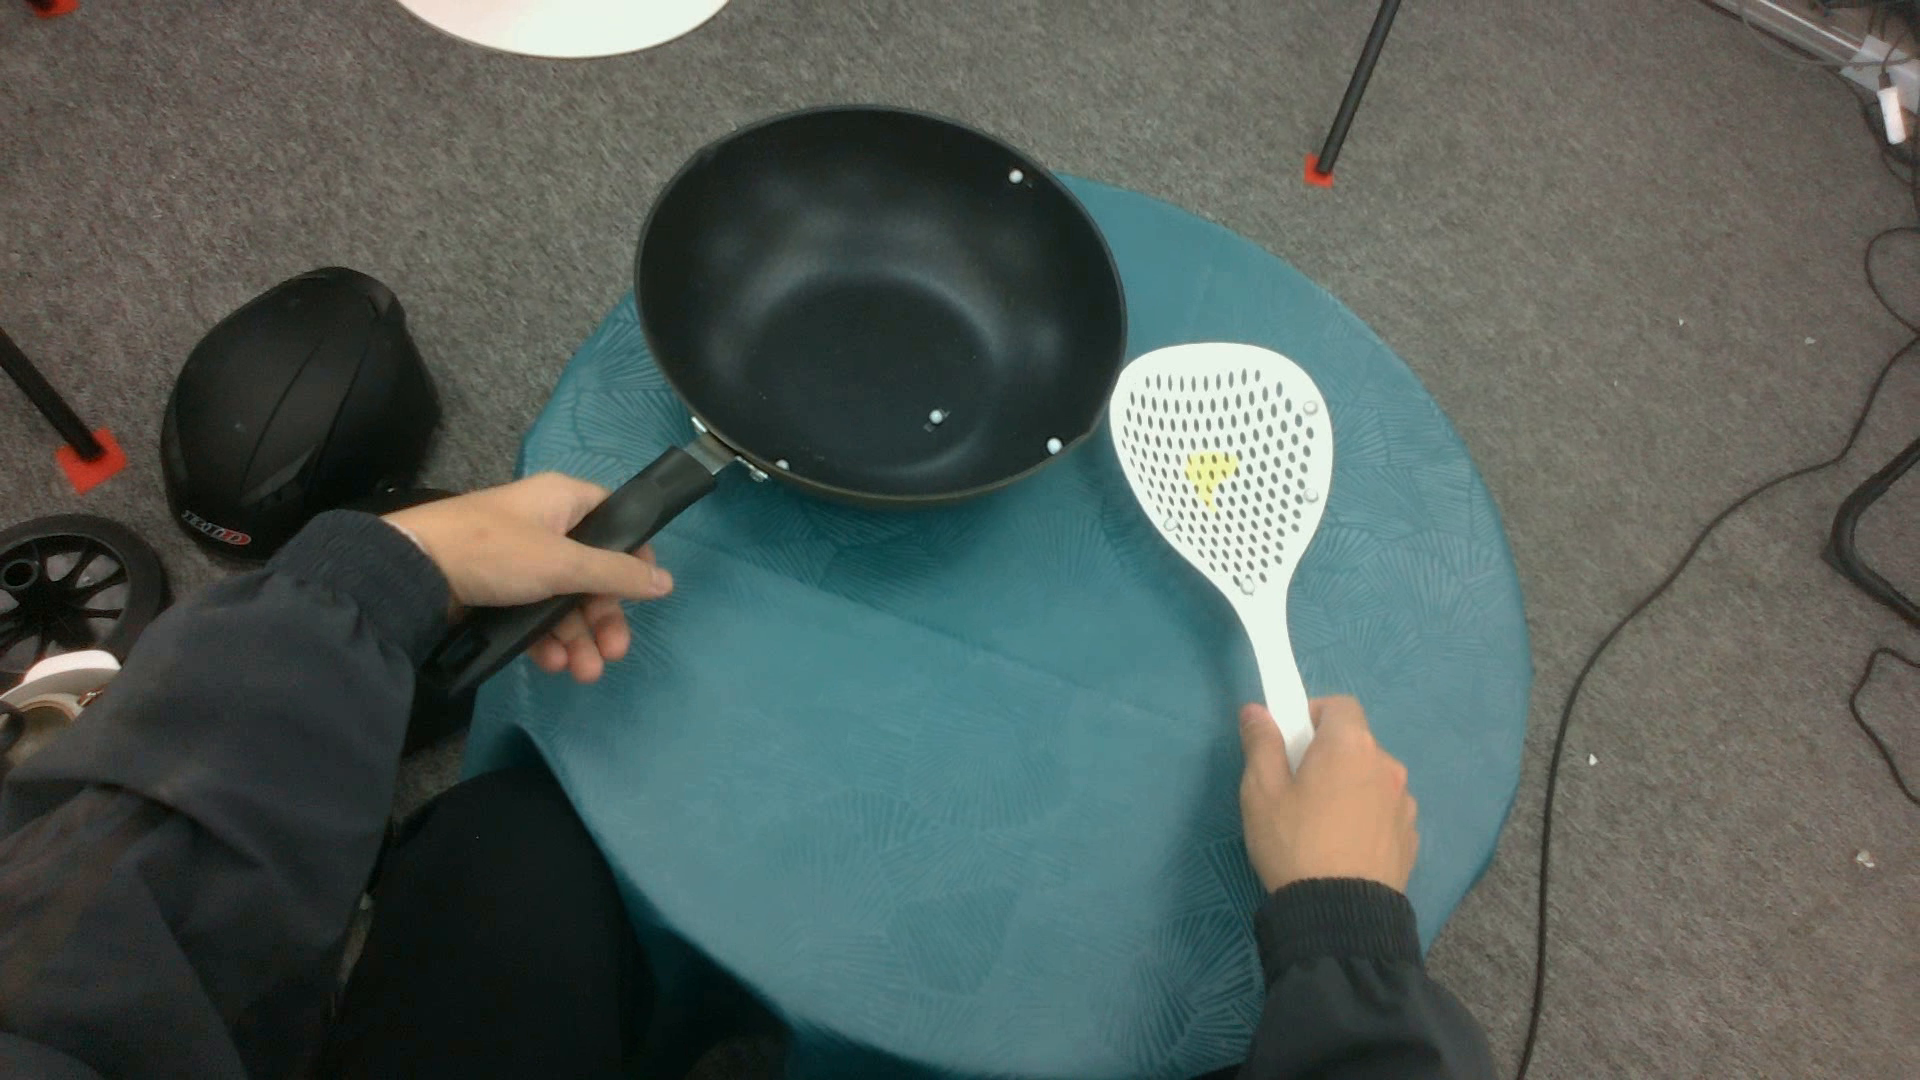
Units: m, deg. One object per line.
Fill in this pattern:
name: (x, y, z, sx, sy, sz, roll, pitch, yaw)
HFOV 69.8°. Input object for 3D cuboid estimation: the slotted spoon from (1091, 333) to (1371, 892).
slotted spoon: (0.169, 0.028, 0.792, 0.137, 0.050, 0.349, -10, 58, -5)

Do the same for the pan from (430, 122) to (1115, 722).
pan: (-0.106, -0.057, 0.784, 0.288, 0.086, 0.465, 34, 62, 12)
